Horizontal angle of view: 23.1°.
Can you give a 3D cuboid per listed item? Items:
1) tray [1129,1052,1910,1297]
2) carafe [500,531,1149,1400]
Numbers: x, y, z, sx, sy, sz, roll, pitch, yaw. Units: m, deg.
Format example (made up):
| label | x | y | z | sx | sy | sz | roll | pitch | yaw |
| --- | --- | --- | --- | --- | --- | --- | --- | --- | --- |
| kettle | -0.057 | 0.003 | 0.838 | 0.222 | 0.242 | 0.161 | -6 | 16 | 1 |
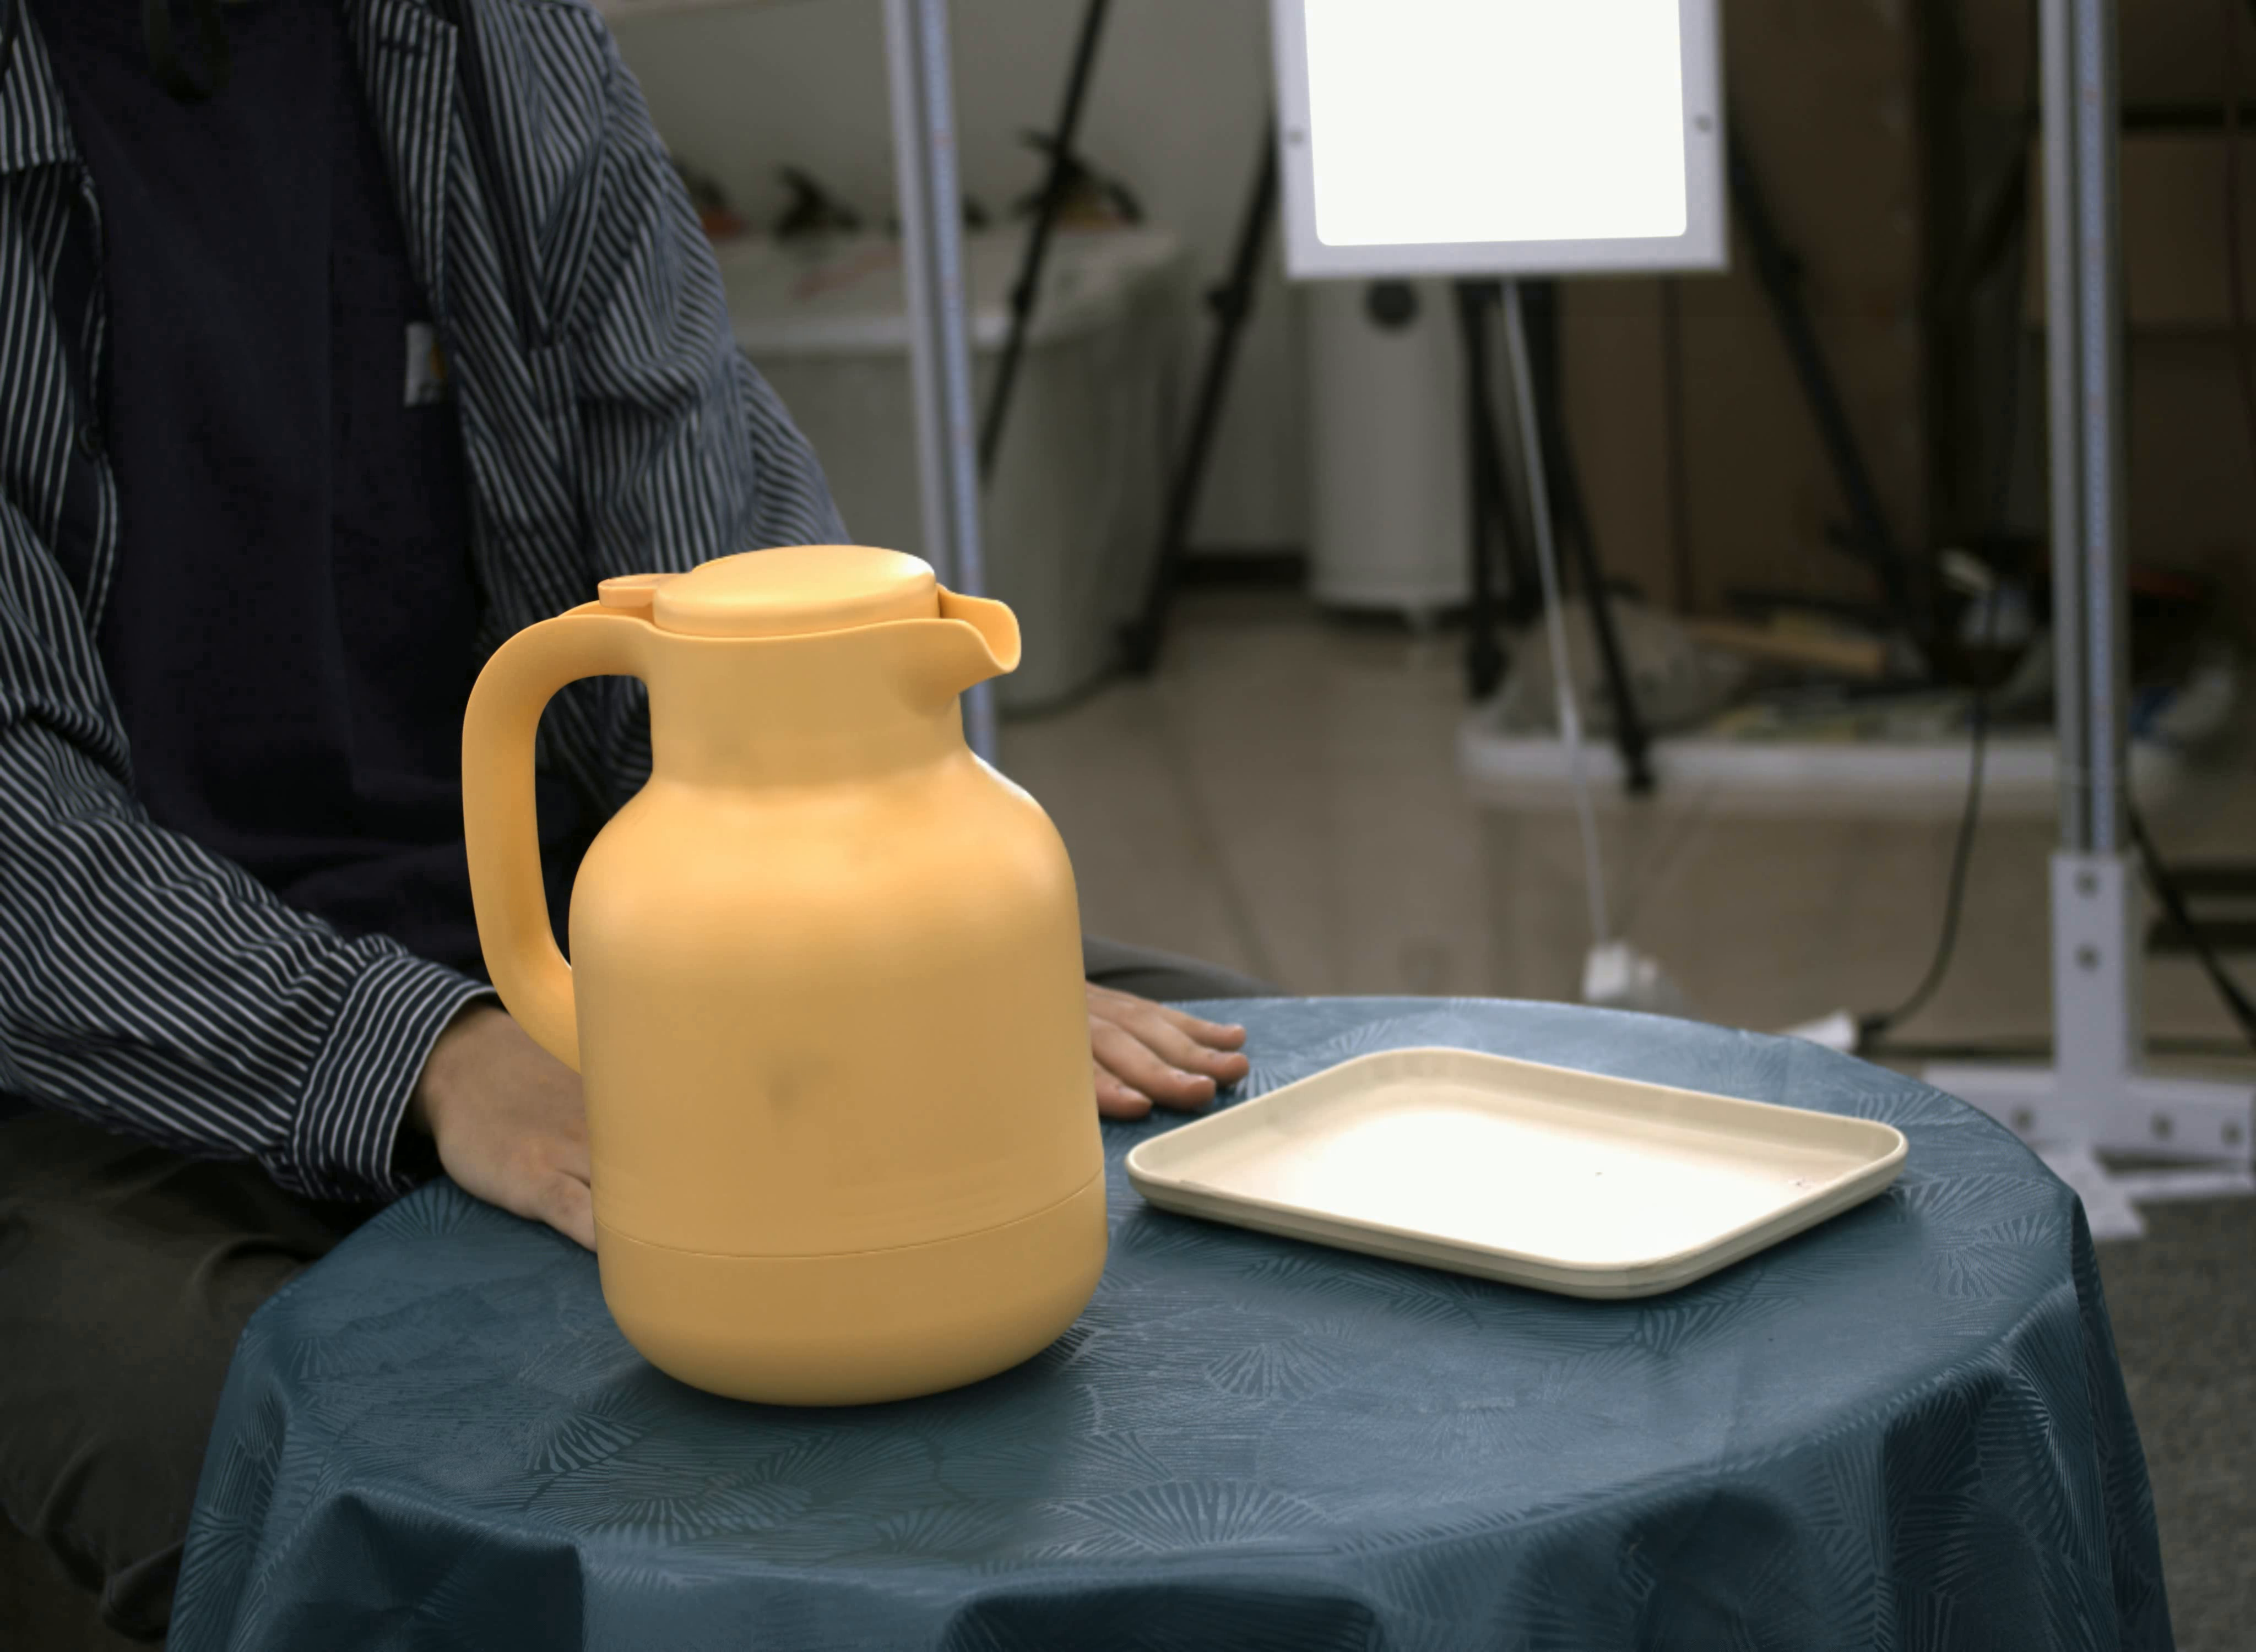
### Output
| label | x | y | z | sx | sy | sz | roll | pitch | yaw |
| --- | --- | --- | --- | --- | --- | --- | --- | --- | --- |
| tray | 0.131 | 0.116 | 1.849 | 0.245 | 0.017 | 0.167 | 8 | 18 | 44 |
| carafe | -0.098 | 0.039 | 1.739 | 0.205 | 0.261 | 0.160 | 1 | 13 | 24 |
